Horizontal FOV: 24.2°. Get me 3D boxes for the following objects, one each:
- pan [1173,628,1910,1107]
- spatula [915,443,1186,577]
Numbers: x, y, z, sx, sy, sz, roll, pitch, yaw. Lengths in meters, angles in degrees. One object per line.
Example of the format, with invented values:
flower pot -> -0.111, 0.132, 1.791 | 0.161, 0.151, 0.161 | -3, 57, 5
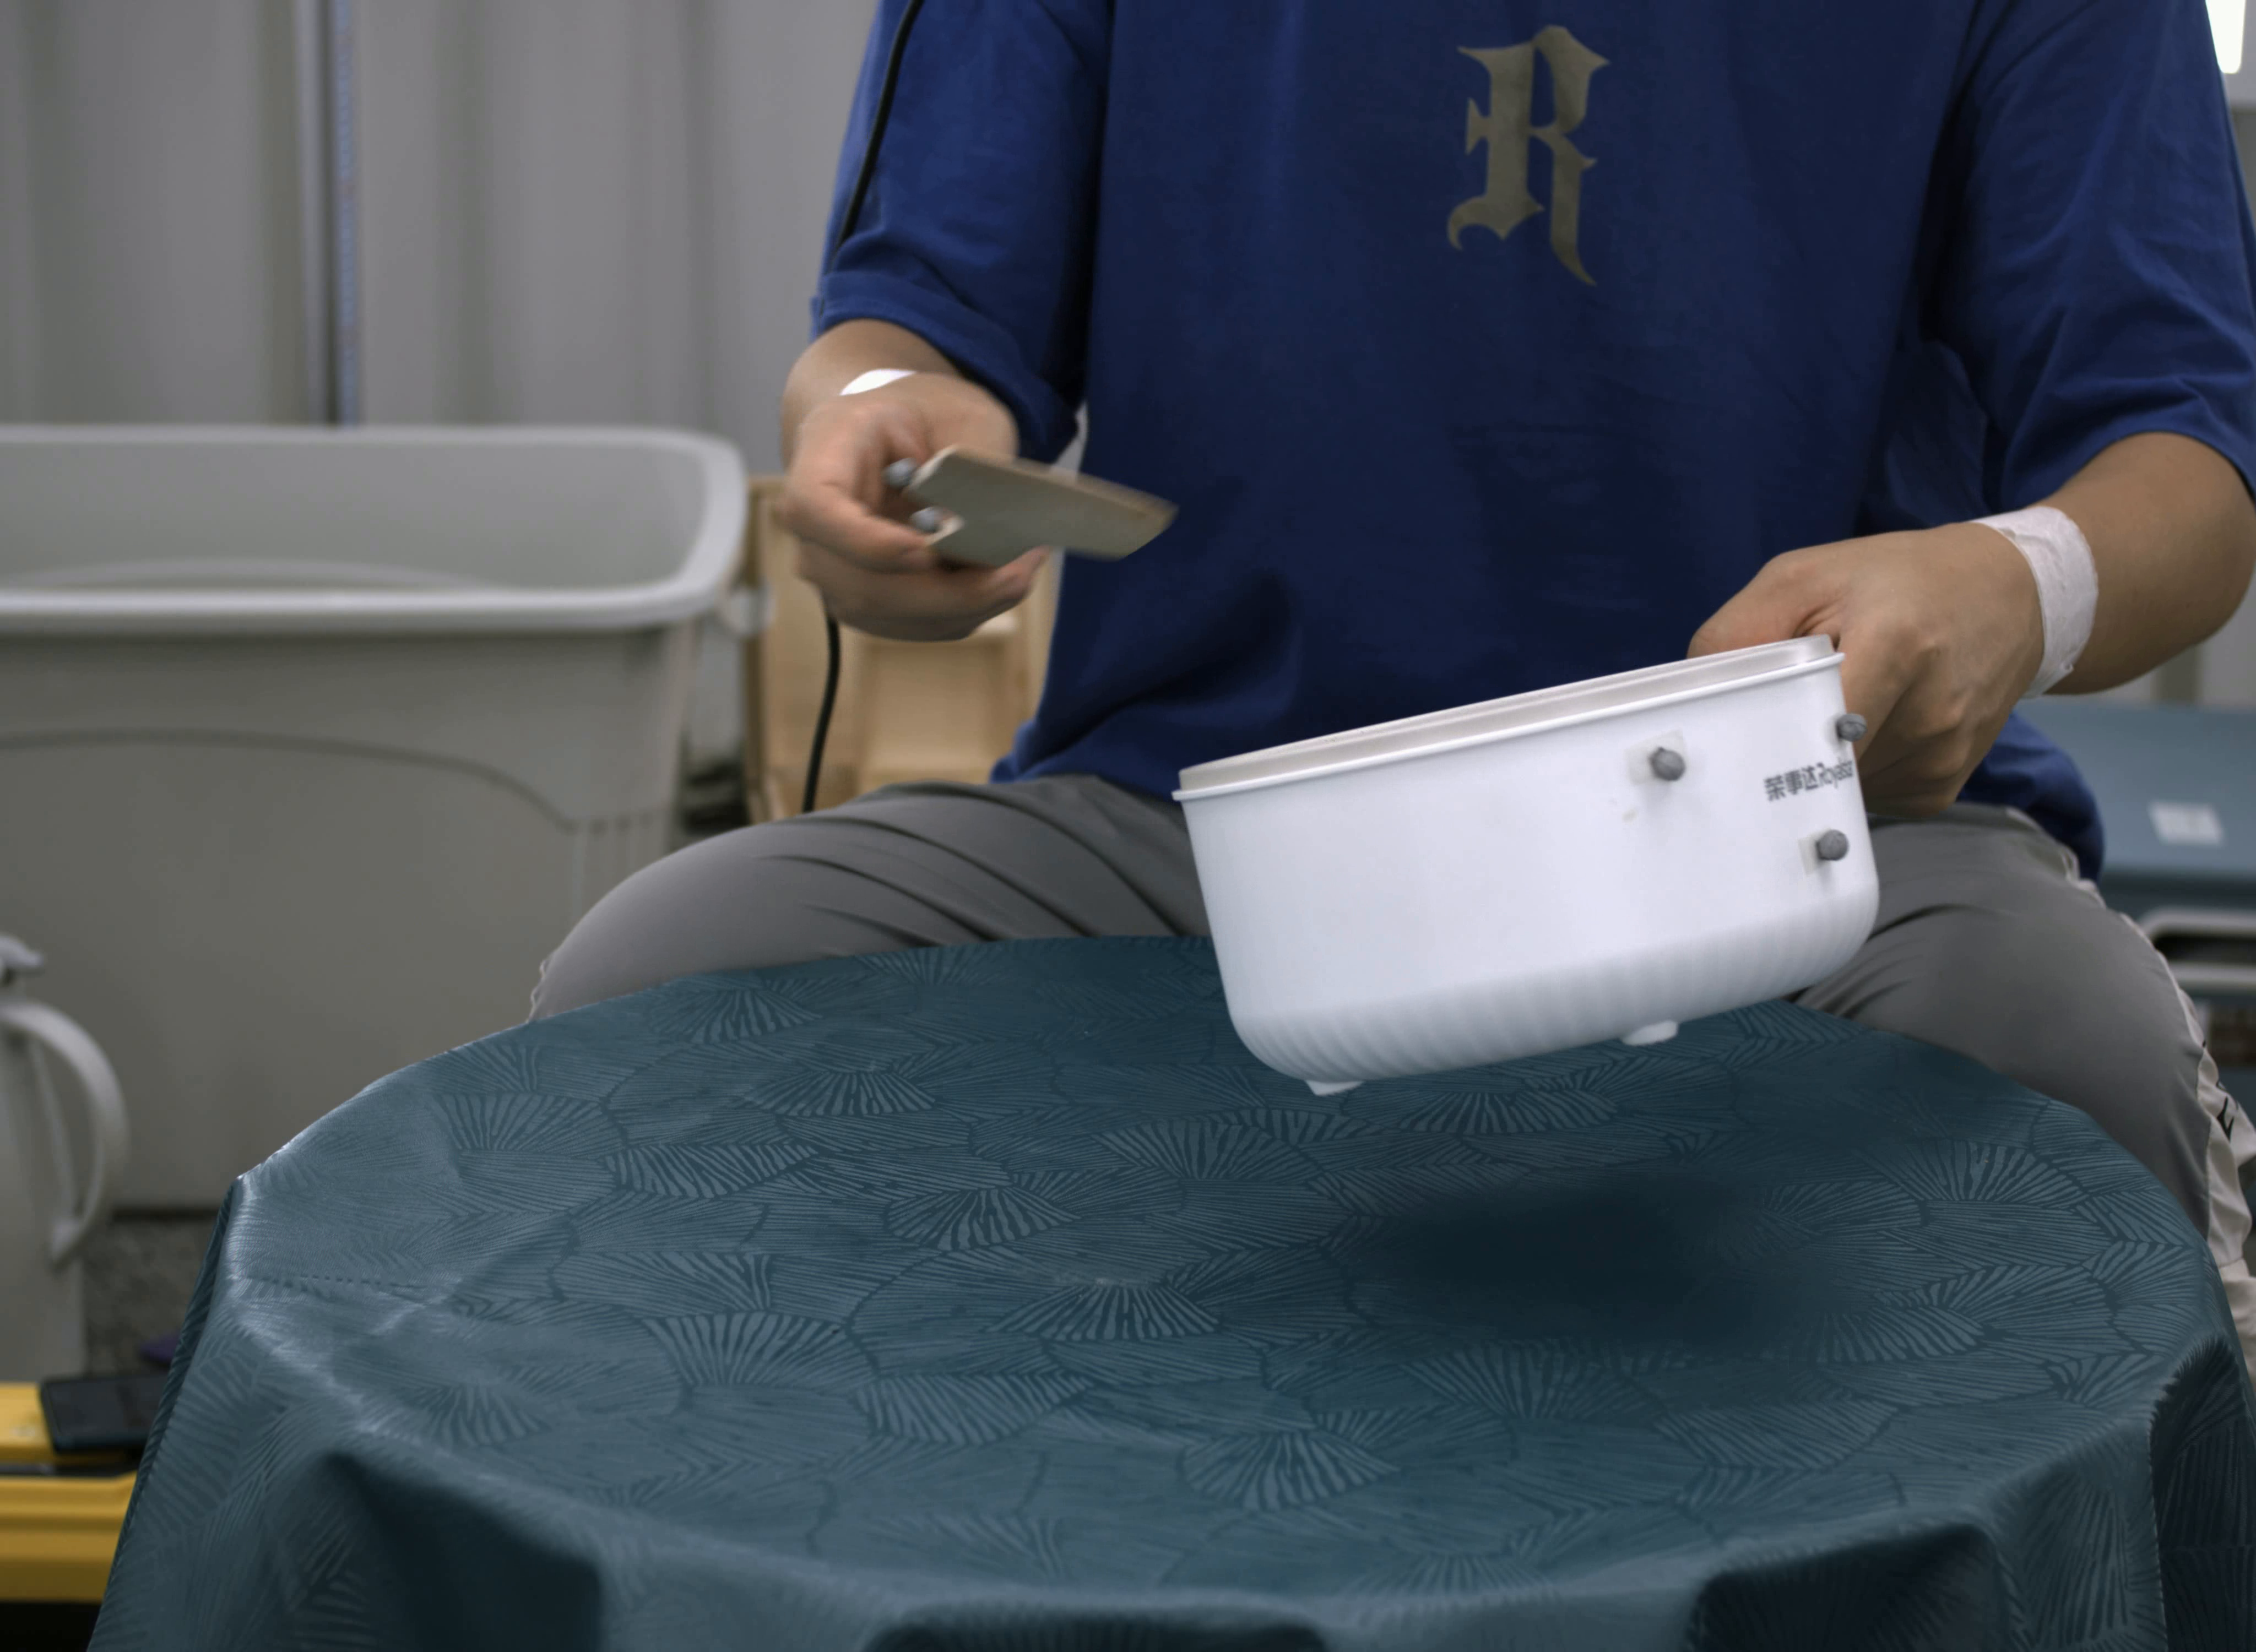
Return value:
pan -> 0.159, 0.005, 1.609 | 0.199, 0.102, 0.356 | -13, 0, 31
spatula -> -0.039, -0.094, 1.652 | 0.072, 0.010, 0.292 | 14, -4, -8
